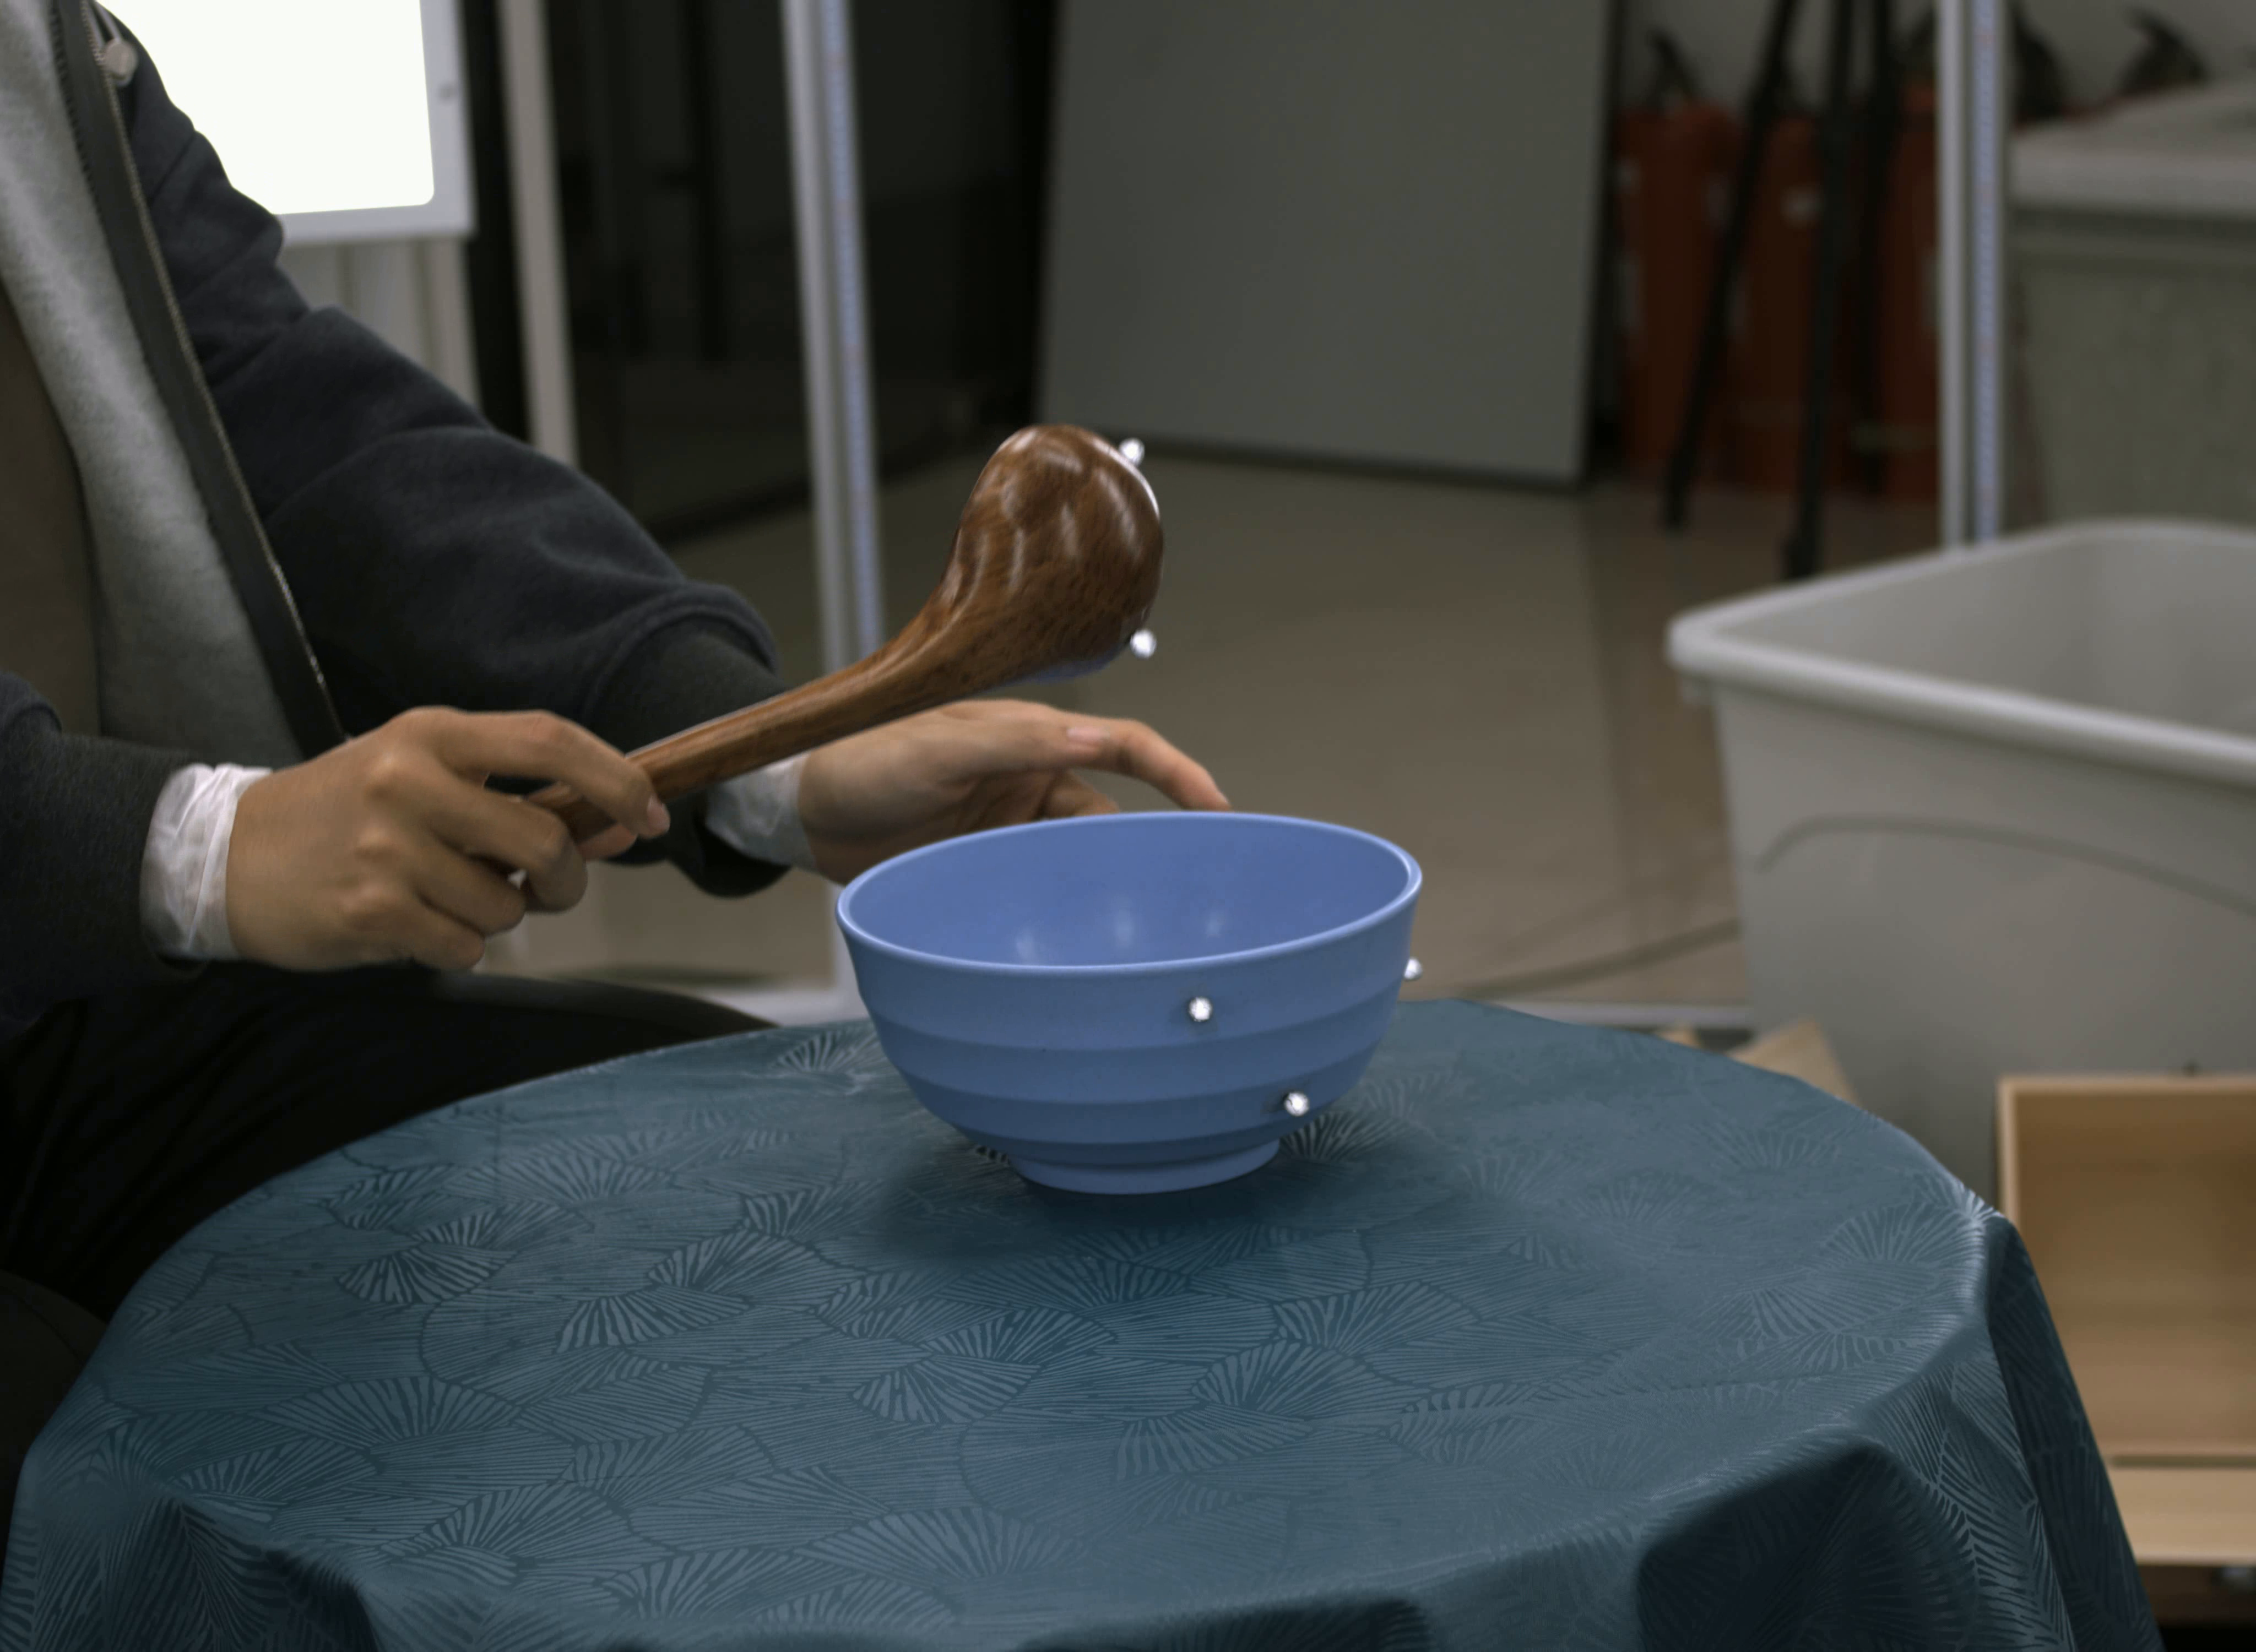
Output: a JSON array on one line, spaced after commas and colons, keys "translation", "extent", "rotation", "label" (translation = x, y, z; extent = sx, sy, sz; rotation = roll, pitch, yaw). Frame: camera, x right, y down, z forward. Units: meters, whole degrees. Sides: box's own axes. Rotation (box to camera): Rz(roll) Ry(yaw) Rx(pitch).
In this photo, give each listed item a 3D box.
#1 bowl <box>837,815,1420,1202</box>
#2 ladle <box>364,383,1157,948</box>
[{"translation": [0.004, 0.066, 1.796], "extent": [0.194, 0.096, 0.197], "rotation": [-5, 13, 0], "label": "bowl"}, {"translation": [-0.116, -0.049, 1.663], "extent": [0.273, 0.081, 0.077], "rotation": [-25, 33, 13], "label": "ladle"}]
